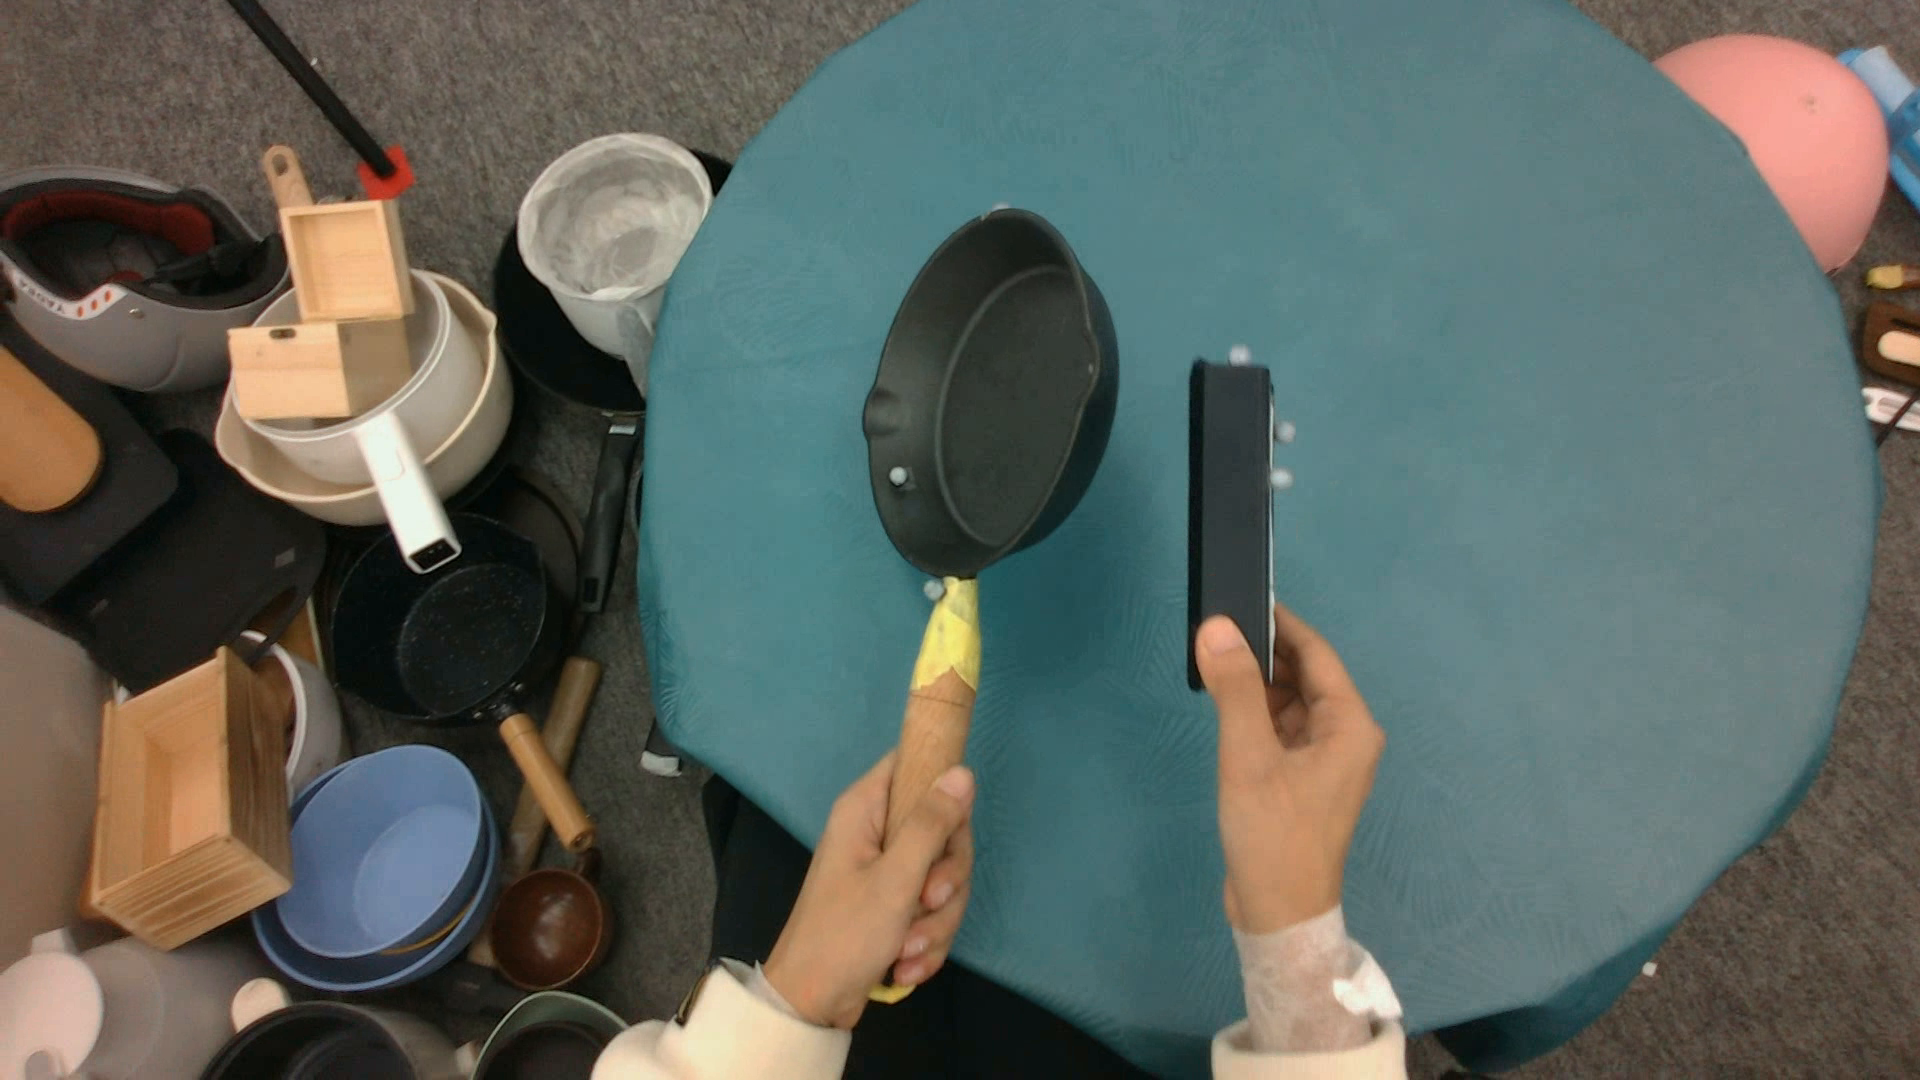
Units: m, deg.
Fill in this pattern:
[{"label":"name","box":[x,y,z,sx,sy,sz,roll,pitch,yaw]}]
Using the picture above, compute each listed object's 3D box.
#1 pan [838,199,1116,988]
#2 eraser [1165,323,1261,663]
[{"label":"pan","box":[-0.005,0.019,0.572,0.049,0.168,0.324,12,84,-37]},{"label":"eraser","box":[0.097,-0.017,0.522,0.030,0.053,0.125,0,85,17]}]
